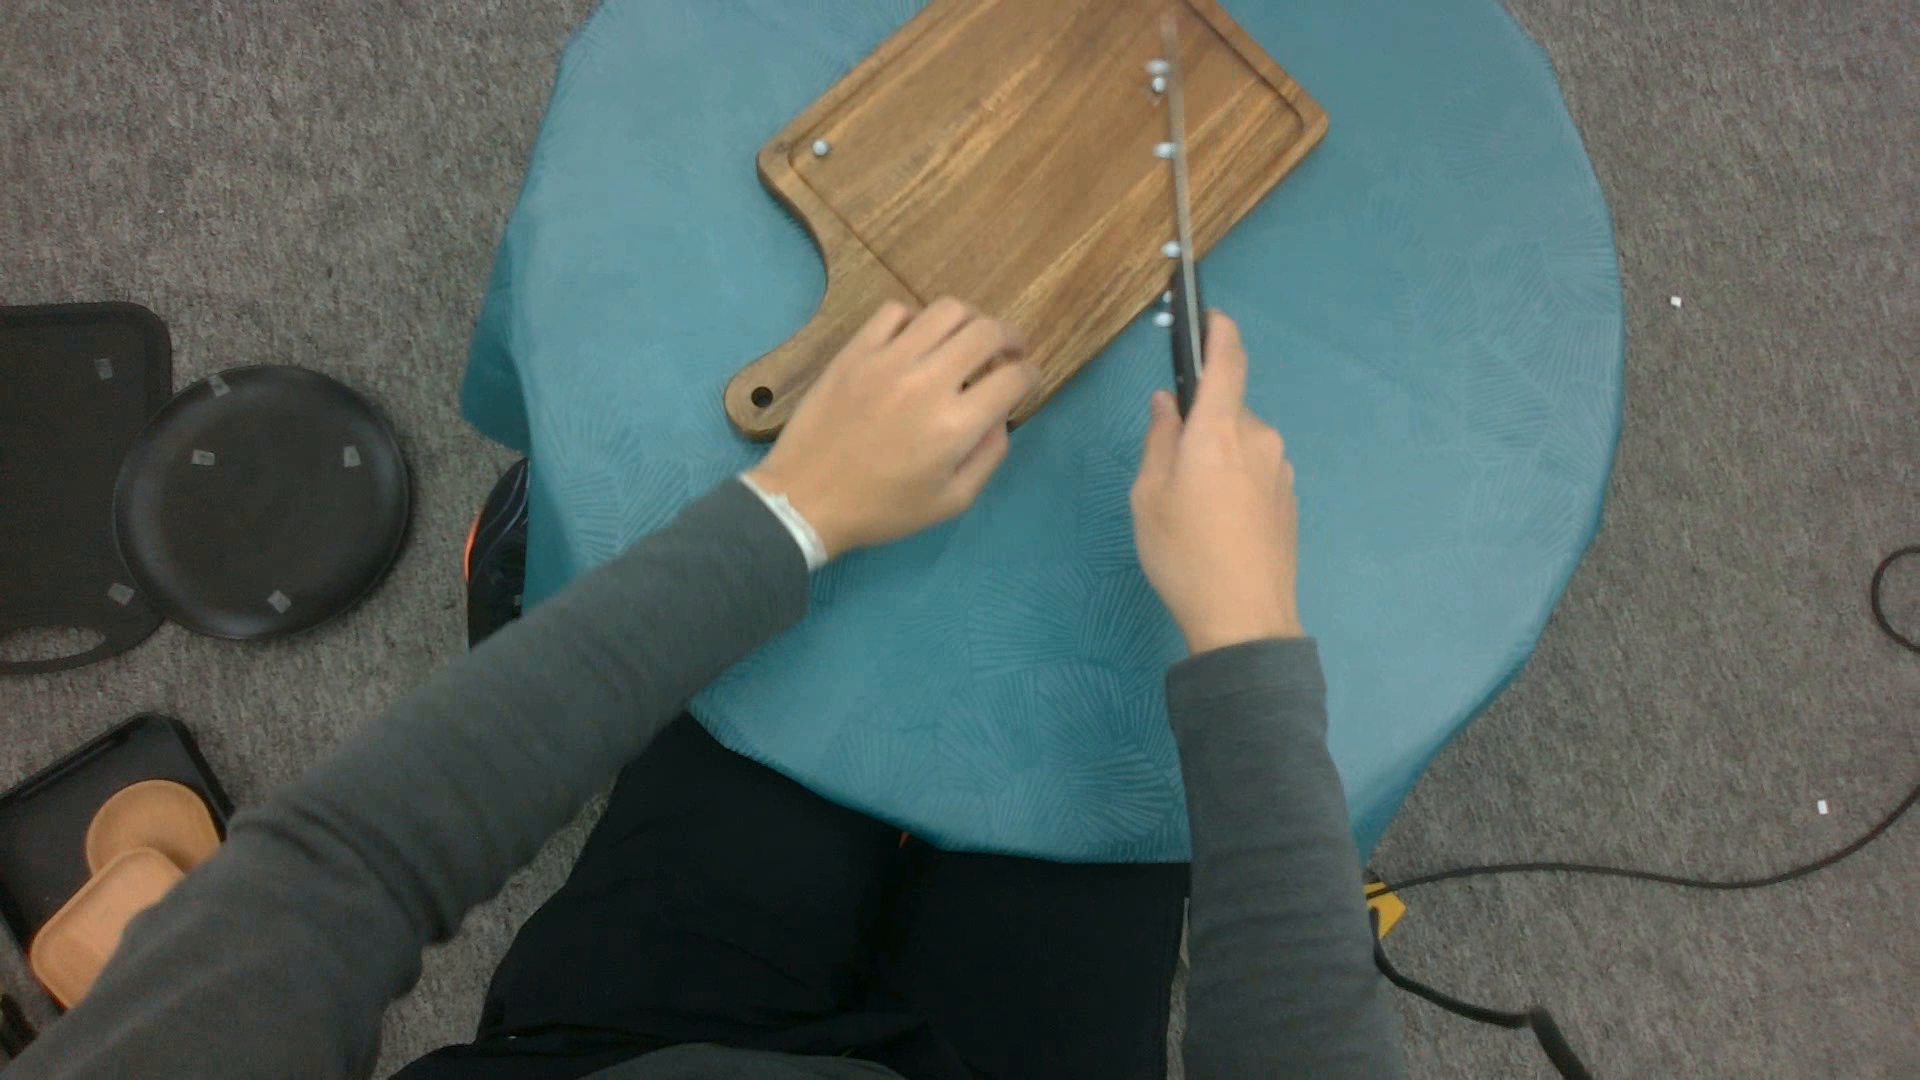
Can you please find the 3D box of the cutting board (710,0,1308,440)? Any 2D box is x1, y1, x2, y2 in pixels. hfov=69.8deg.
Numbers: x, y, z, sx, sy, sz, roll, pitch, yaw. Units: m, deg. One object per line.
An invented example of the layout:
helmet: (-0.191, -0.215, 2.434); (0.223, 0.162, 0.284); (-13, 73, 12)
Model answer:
cutting board: (0.002, -0.179, 0.728); (0.353, 0.023, 0.201); (-44, 87, -12)

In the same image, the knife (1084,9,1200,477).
knife: (0.083, -0.146, 0.655); (0.016, 0.024, 0.238); (-11, 81, 1)
